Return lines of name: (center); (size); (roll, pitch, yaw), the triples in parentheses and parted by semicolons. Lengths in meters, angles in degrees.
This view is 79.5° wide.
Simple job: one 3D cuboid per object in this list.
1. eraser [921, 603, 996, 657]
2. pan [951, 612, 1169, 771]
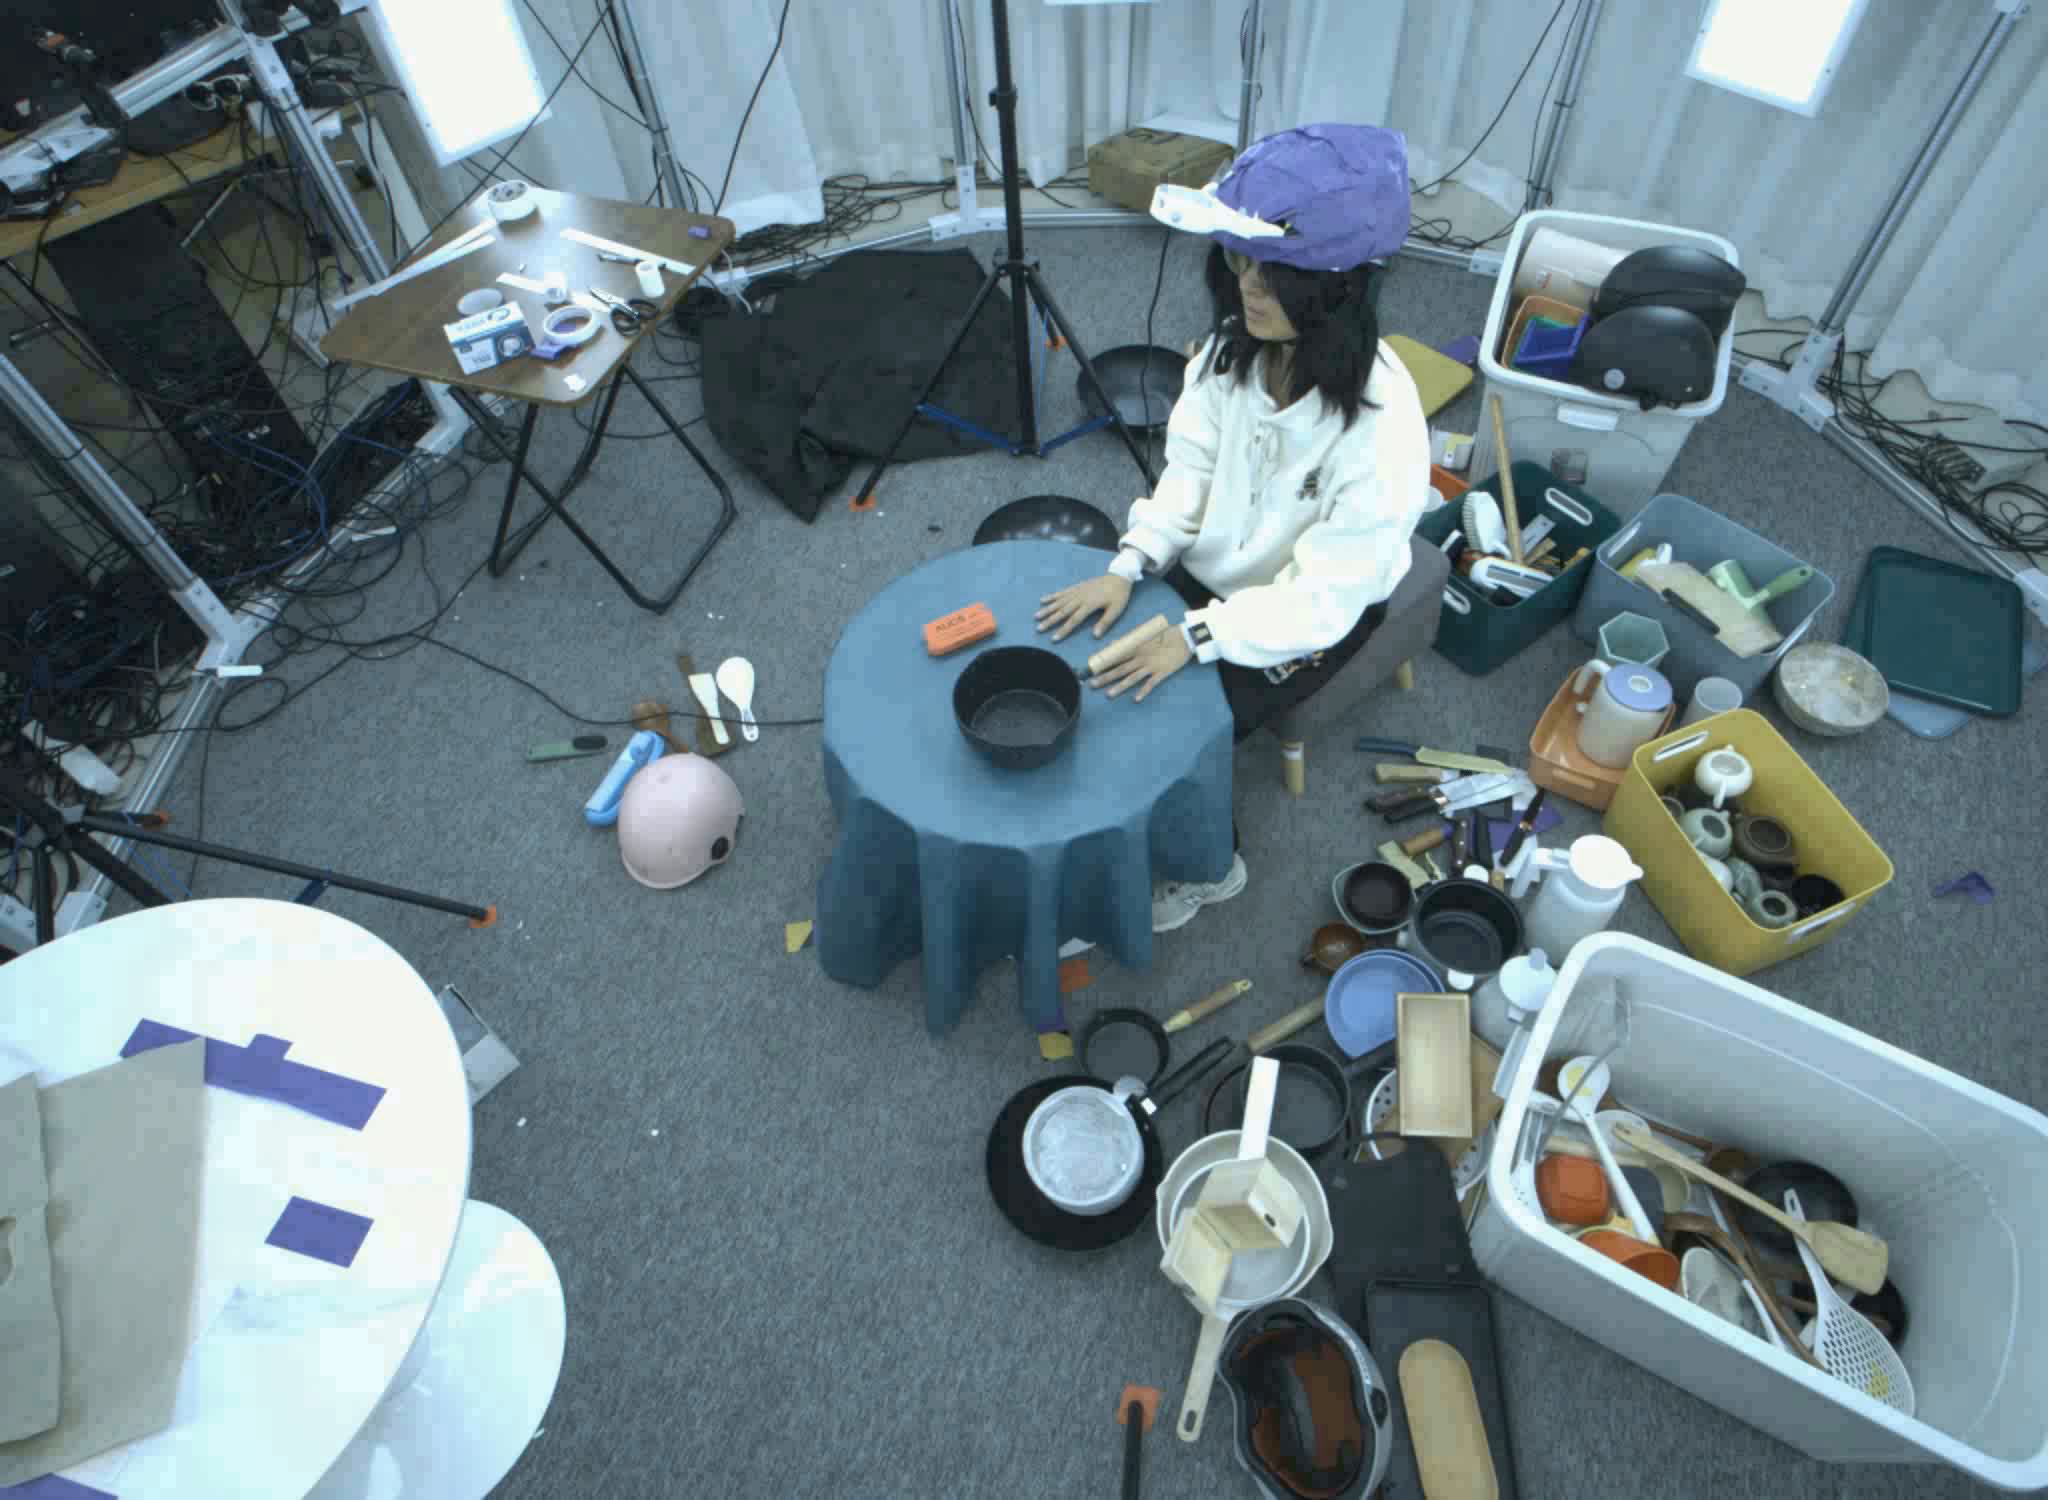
eraser: (-0.102, -0.187, 1.909); (0.109, 0.023, 0.058); (-24, 57, -14)
pan: (0.060, -0.096, 1.787); (0.345, 0.109, 0.203); (-27, 57, -14)
